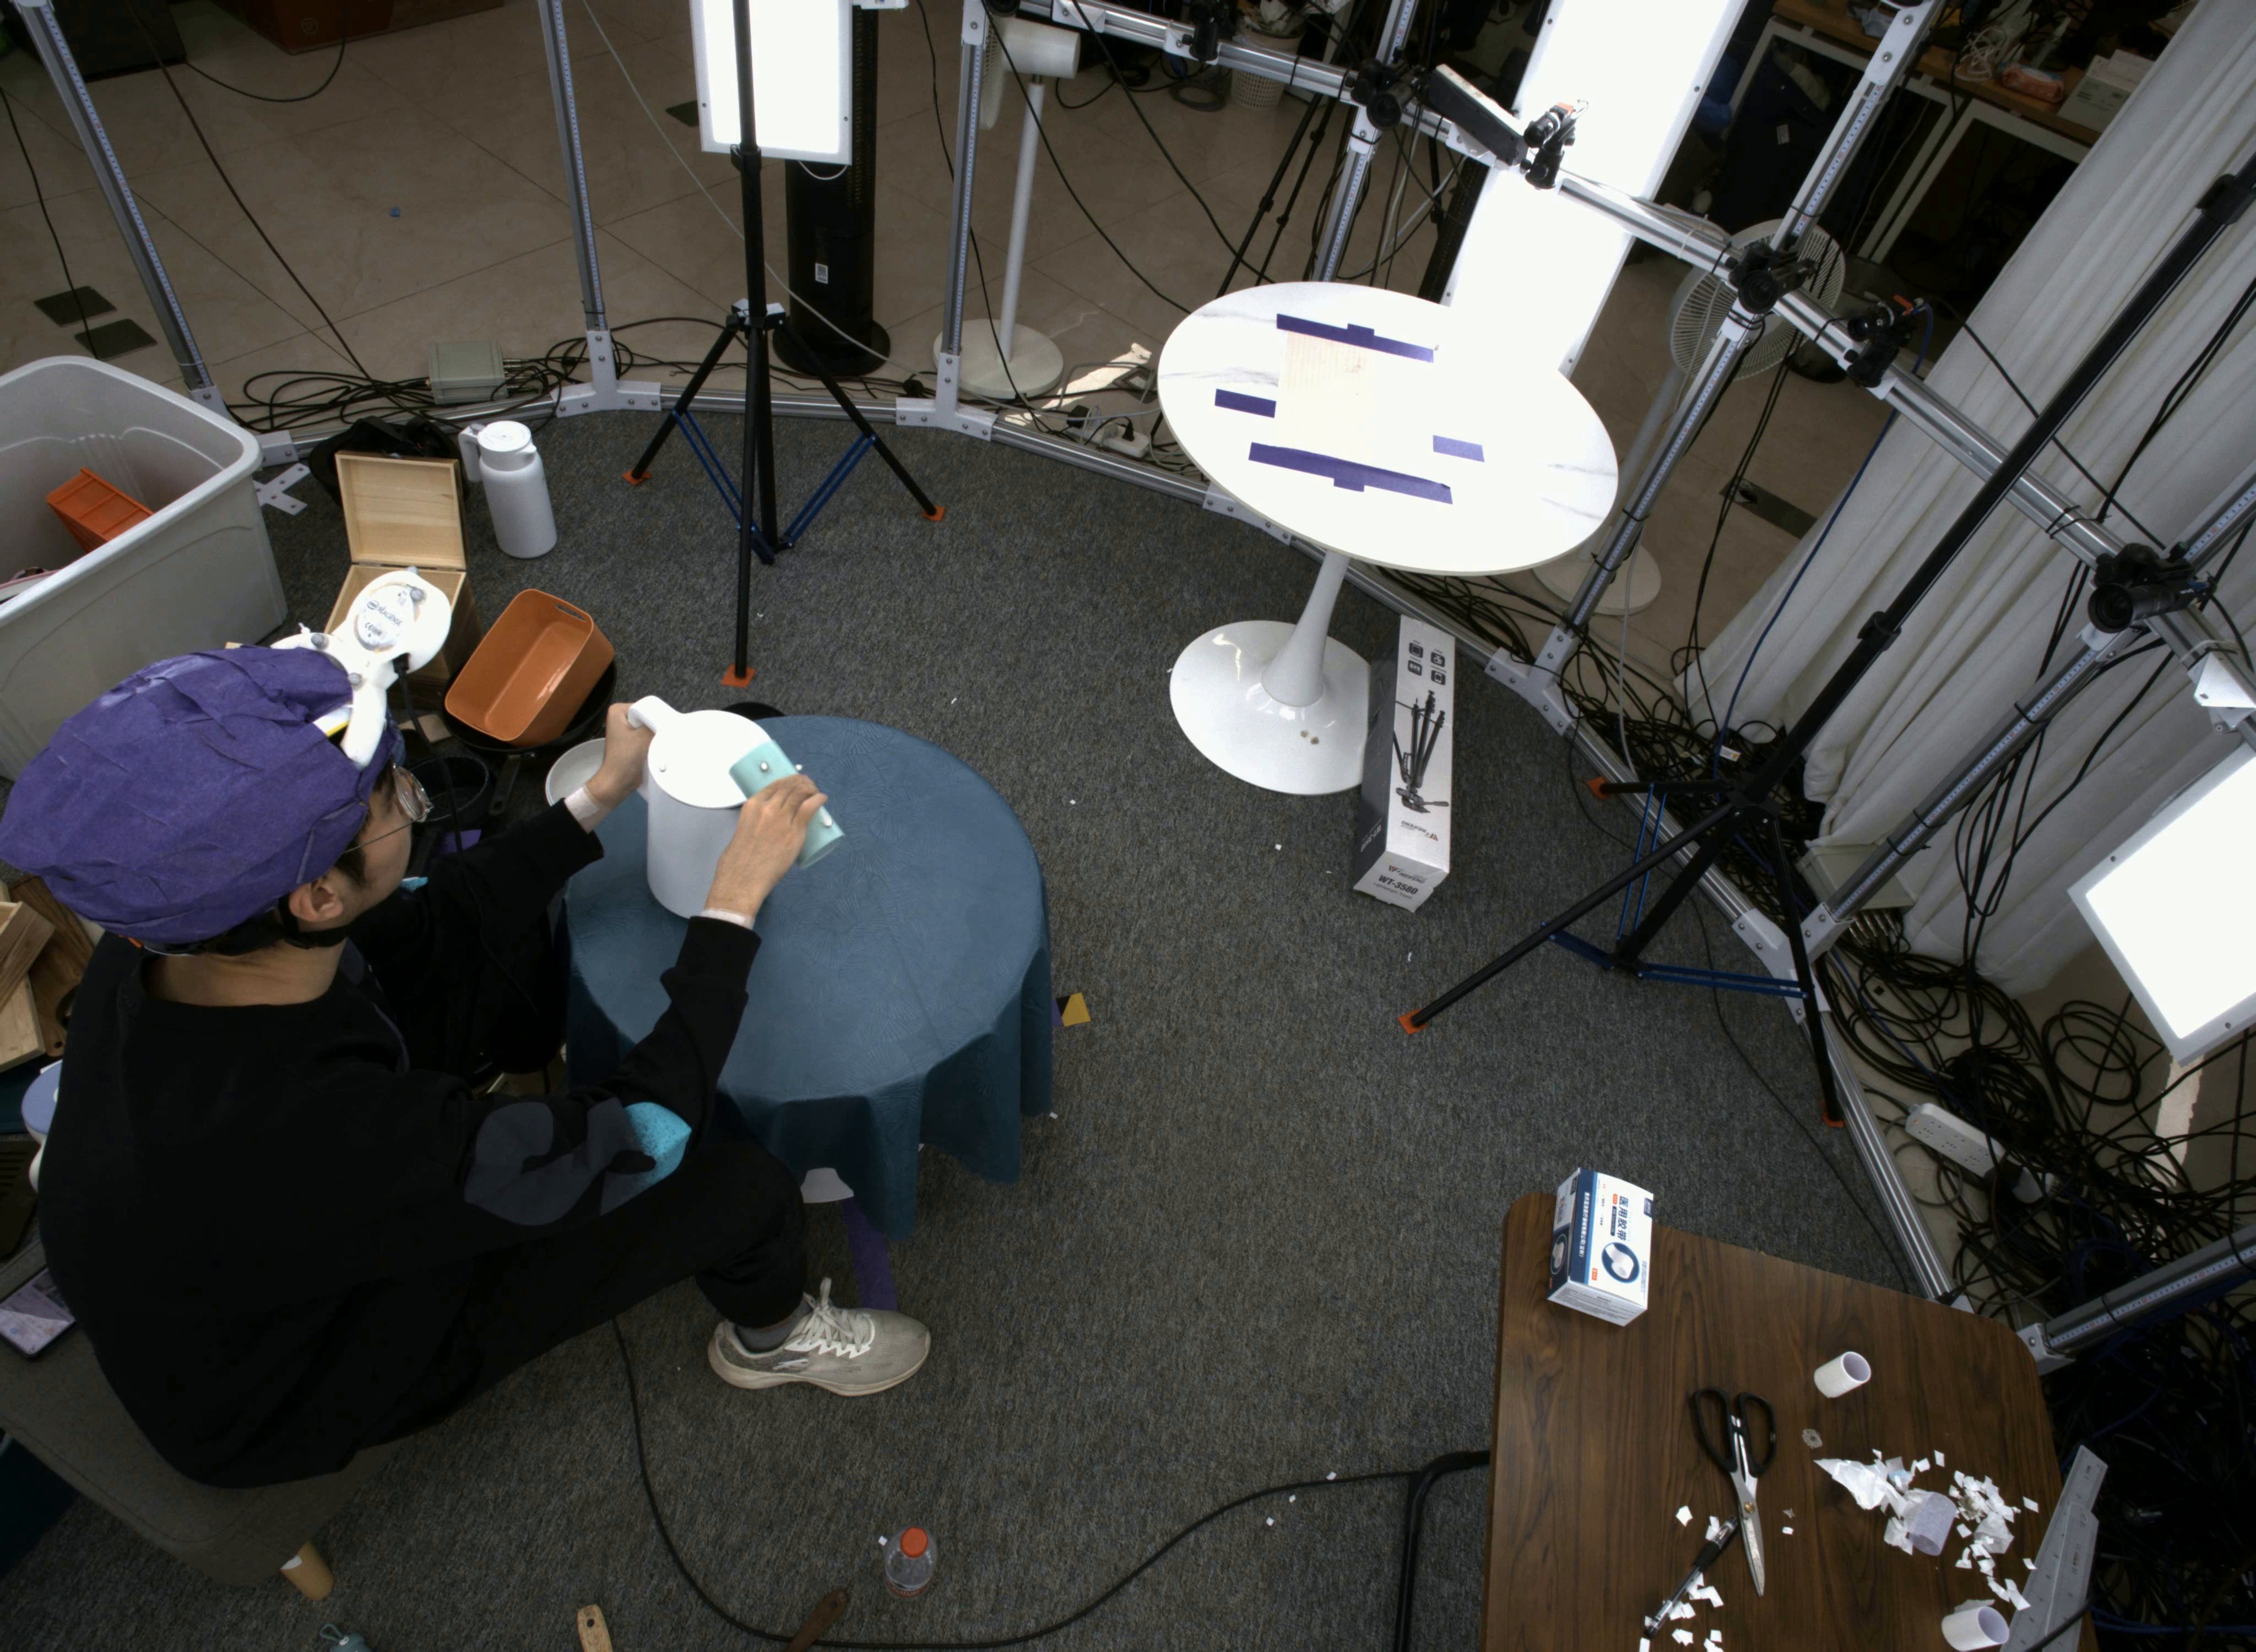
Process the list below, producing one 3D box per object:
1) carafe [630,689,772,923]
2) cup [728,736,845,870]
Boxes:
[{"bbox_3d":[-0.520,-0.031,1.553,0.210,0.244,0.152,39,51,11],"label":"carafe"},{"bbox_3d":[-0.372,-0.025,1.408,0.067,0.066,0.133,-37,92,-33],"label":"cup"}]
